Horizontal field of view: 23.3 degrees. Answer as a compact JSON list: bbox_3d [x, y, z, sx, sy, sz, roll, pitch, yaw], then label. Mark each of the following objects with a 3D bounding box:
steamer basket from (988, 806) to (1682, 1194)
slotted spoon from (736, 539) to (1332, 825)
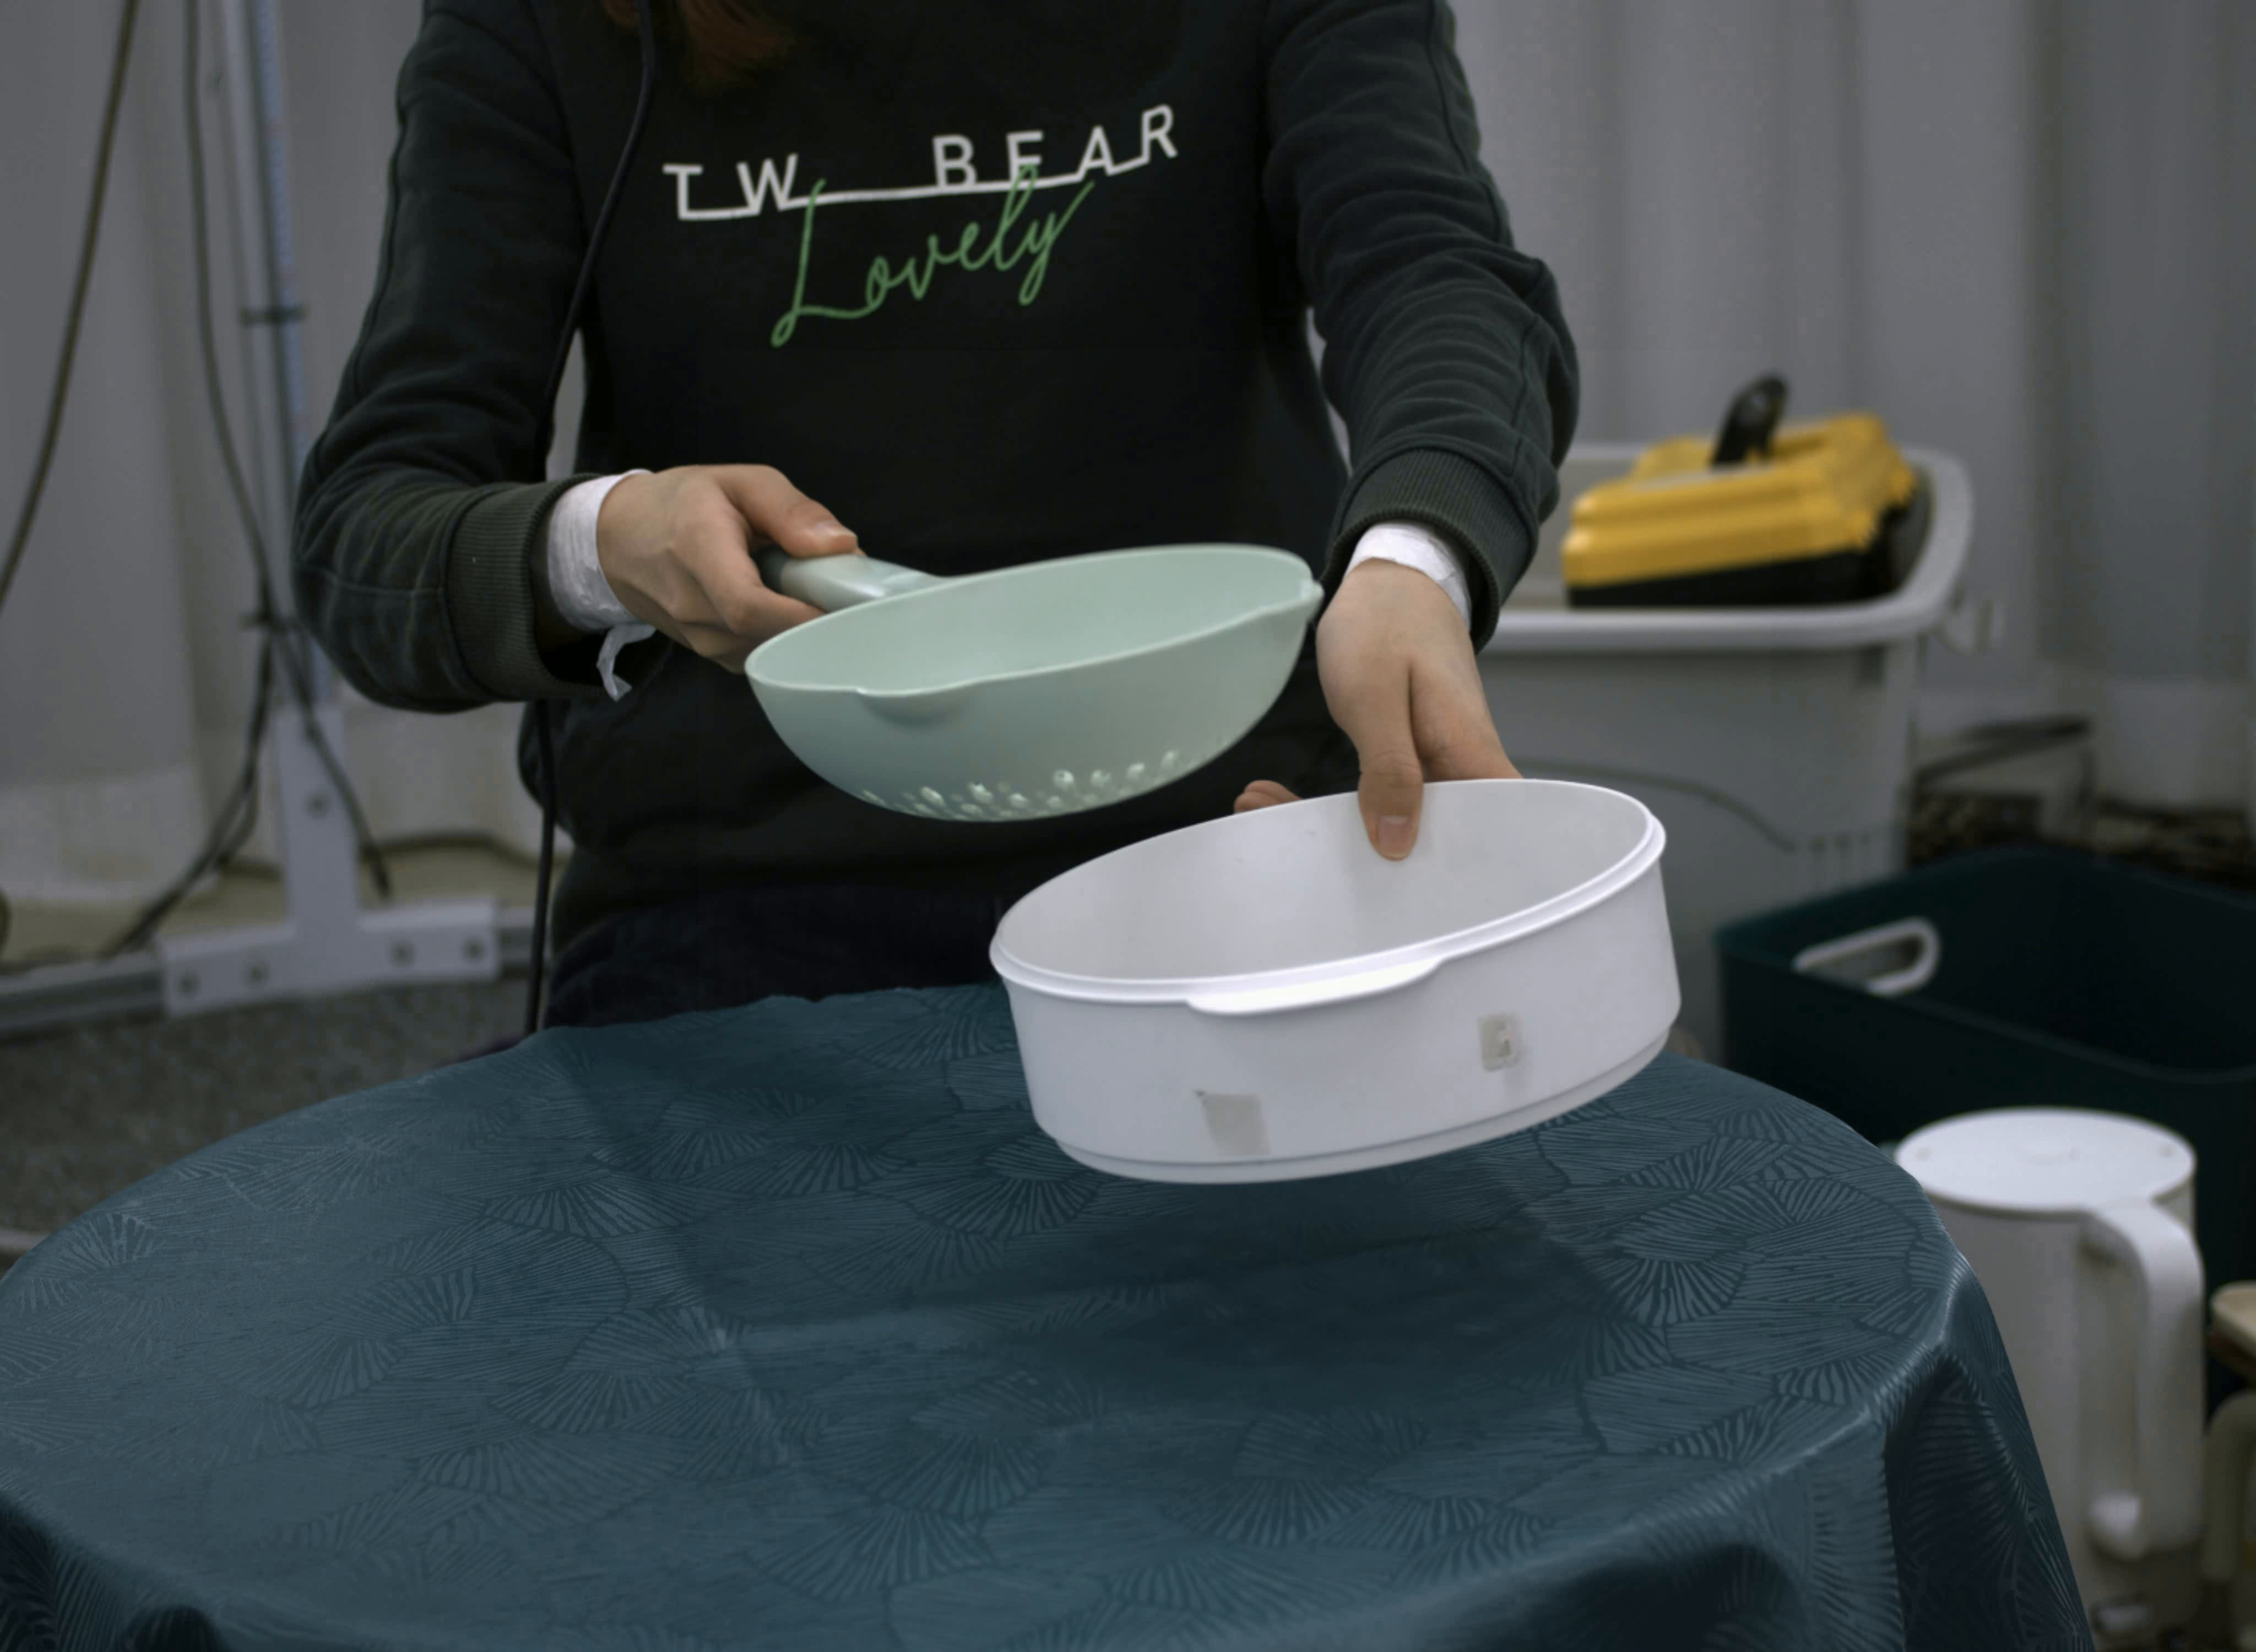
[{"bbox_3d":[0.063,0.051,1.597,0.201,0.069,0.232,-7,12,5],"label":"steamer basket"},{"bbox_3d":[-0.062,-0.062,1.701,0.169,0.075,0.362,-12,20,-20],"label":"slotted spoon"}]
